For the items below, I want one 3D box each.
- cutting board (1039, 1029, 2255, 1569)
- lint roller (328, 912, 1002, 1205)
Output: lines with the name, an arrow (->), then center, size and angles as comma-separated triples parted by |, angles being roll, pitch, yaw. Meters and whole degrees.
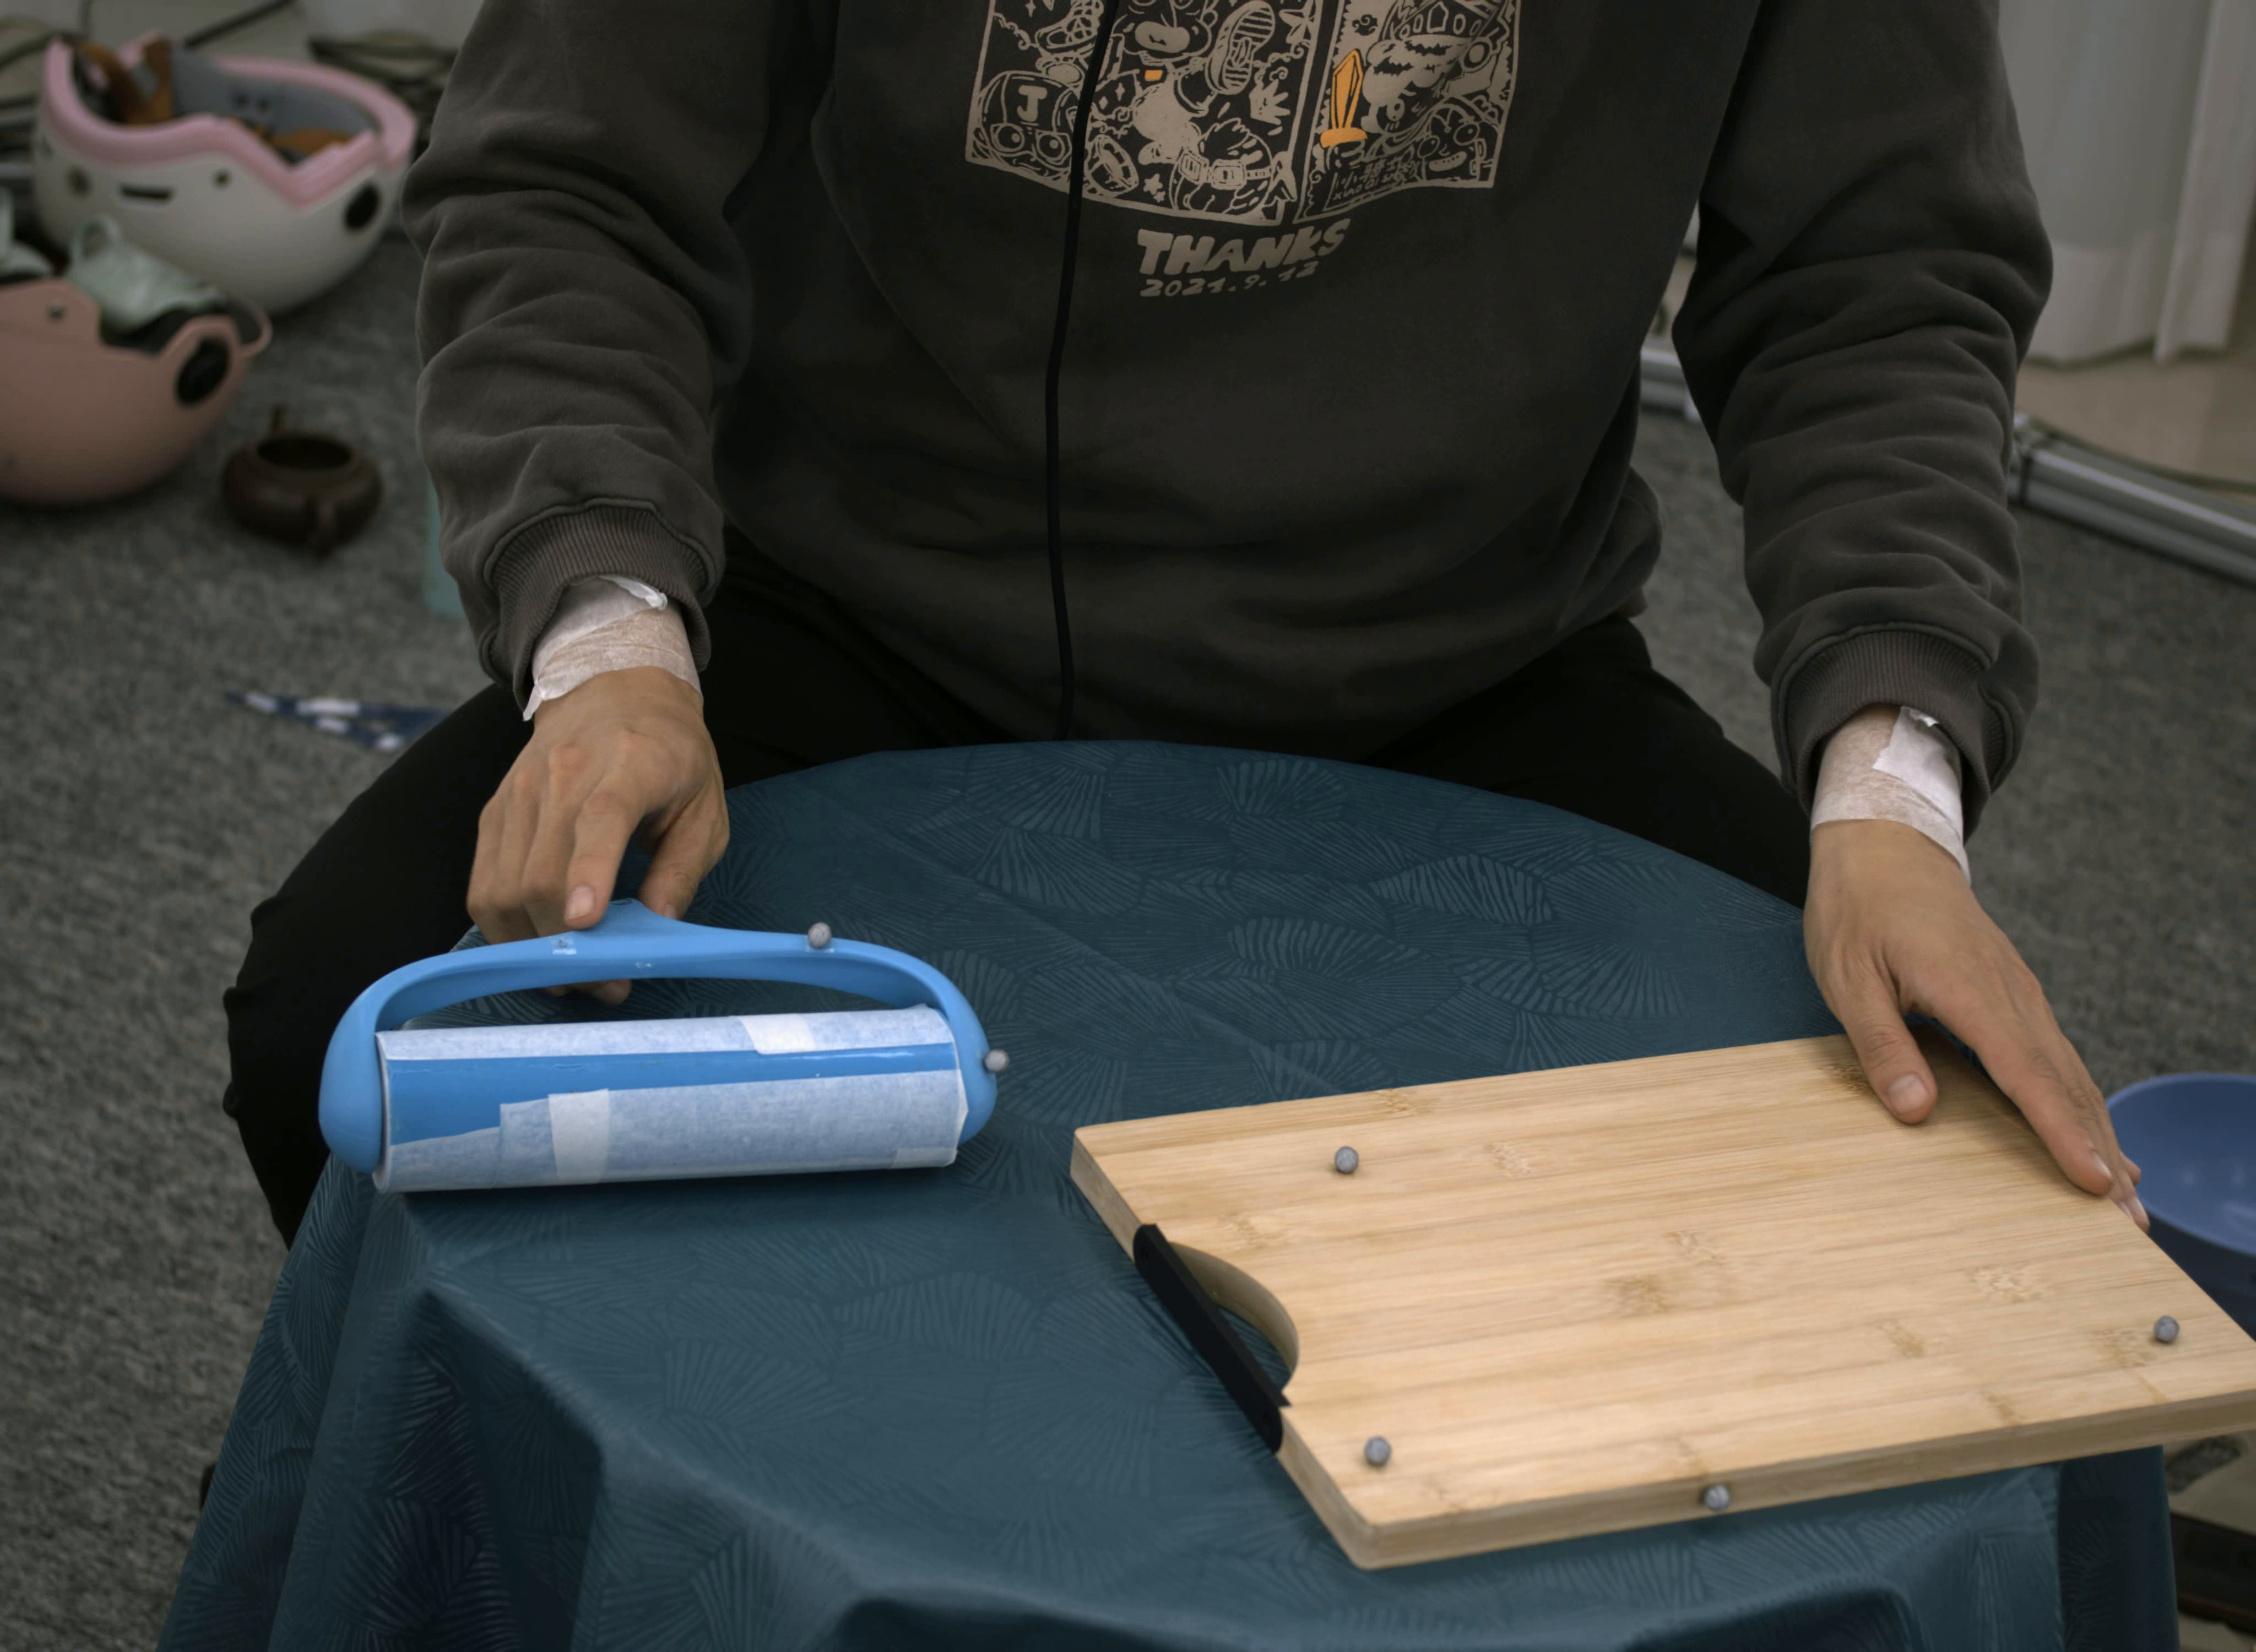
cutting board -> 0.174, 0.151, 1.771 | 0.346, 0.023, 0.253 | -6, 29, -23
lint roller -> -0.171, 0.064, 1.822 | 0.227, 0.067, 0.182 | -5, 30, -18
